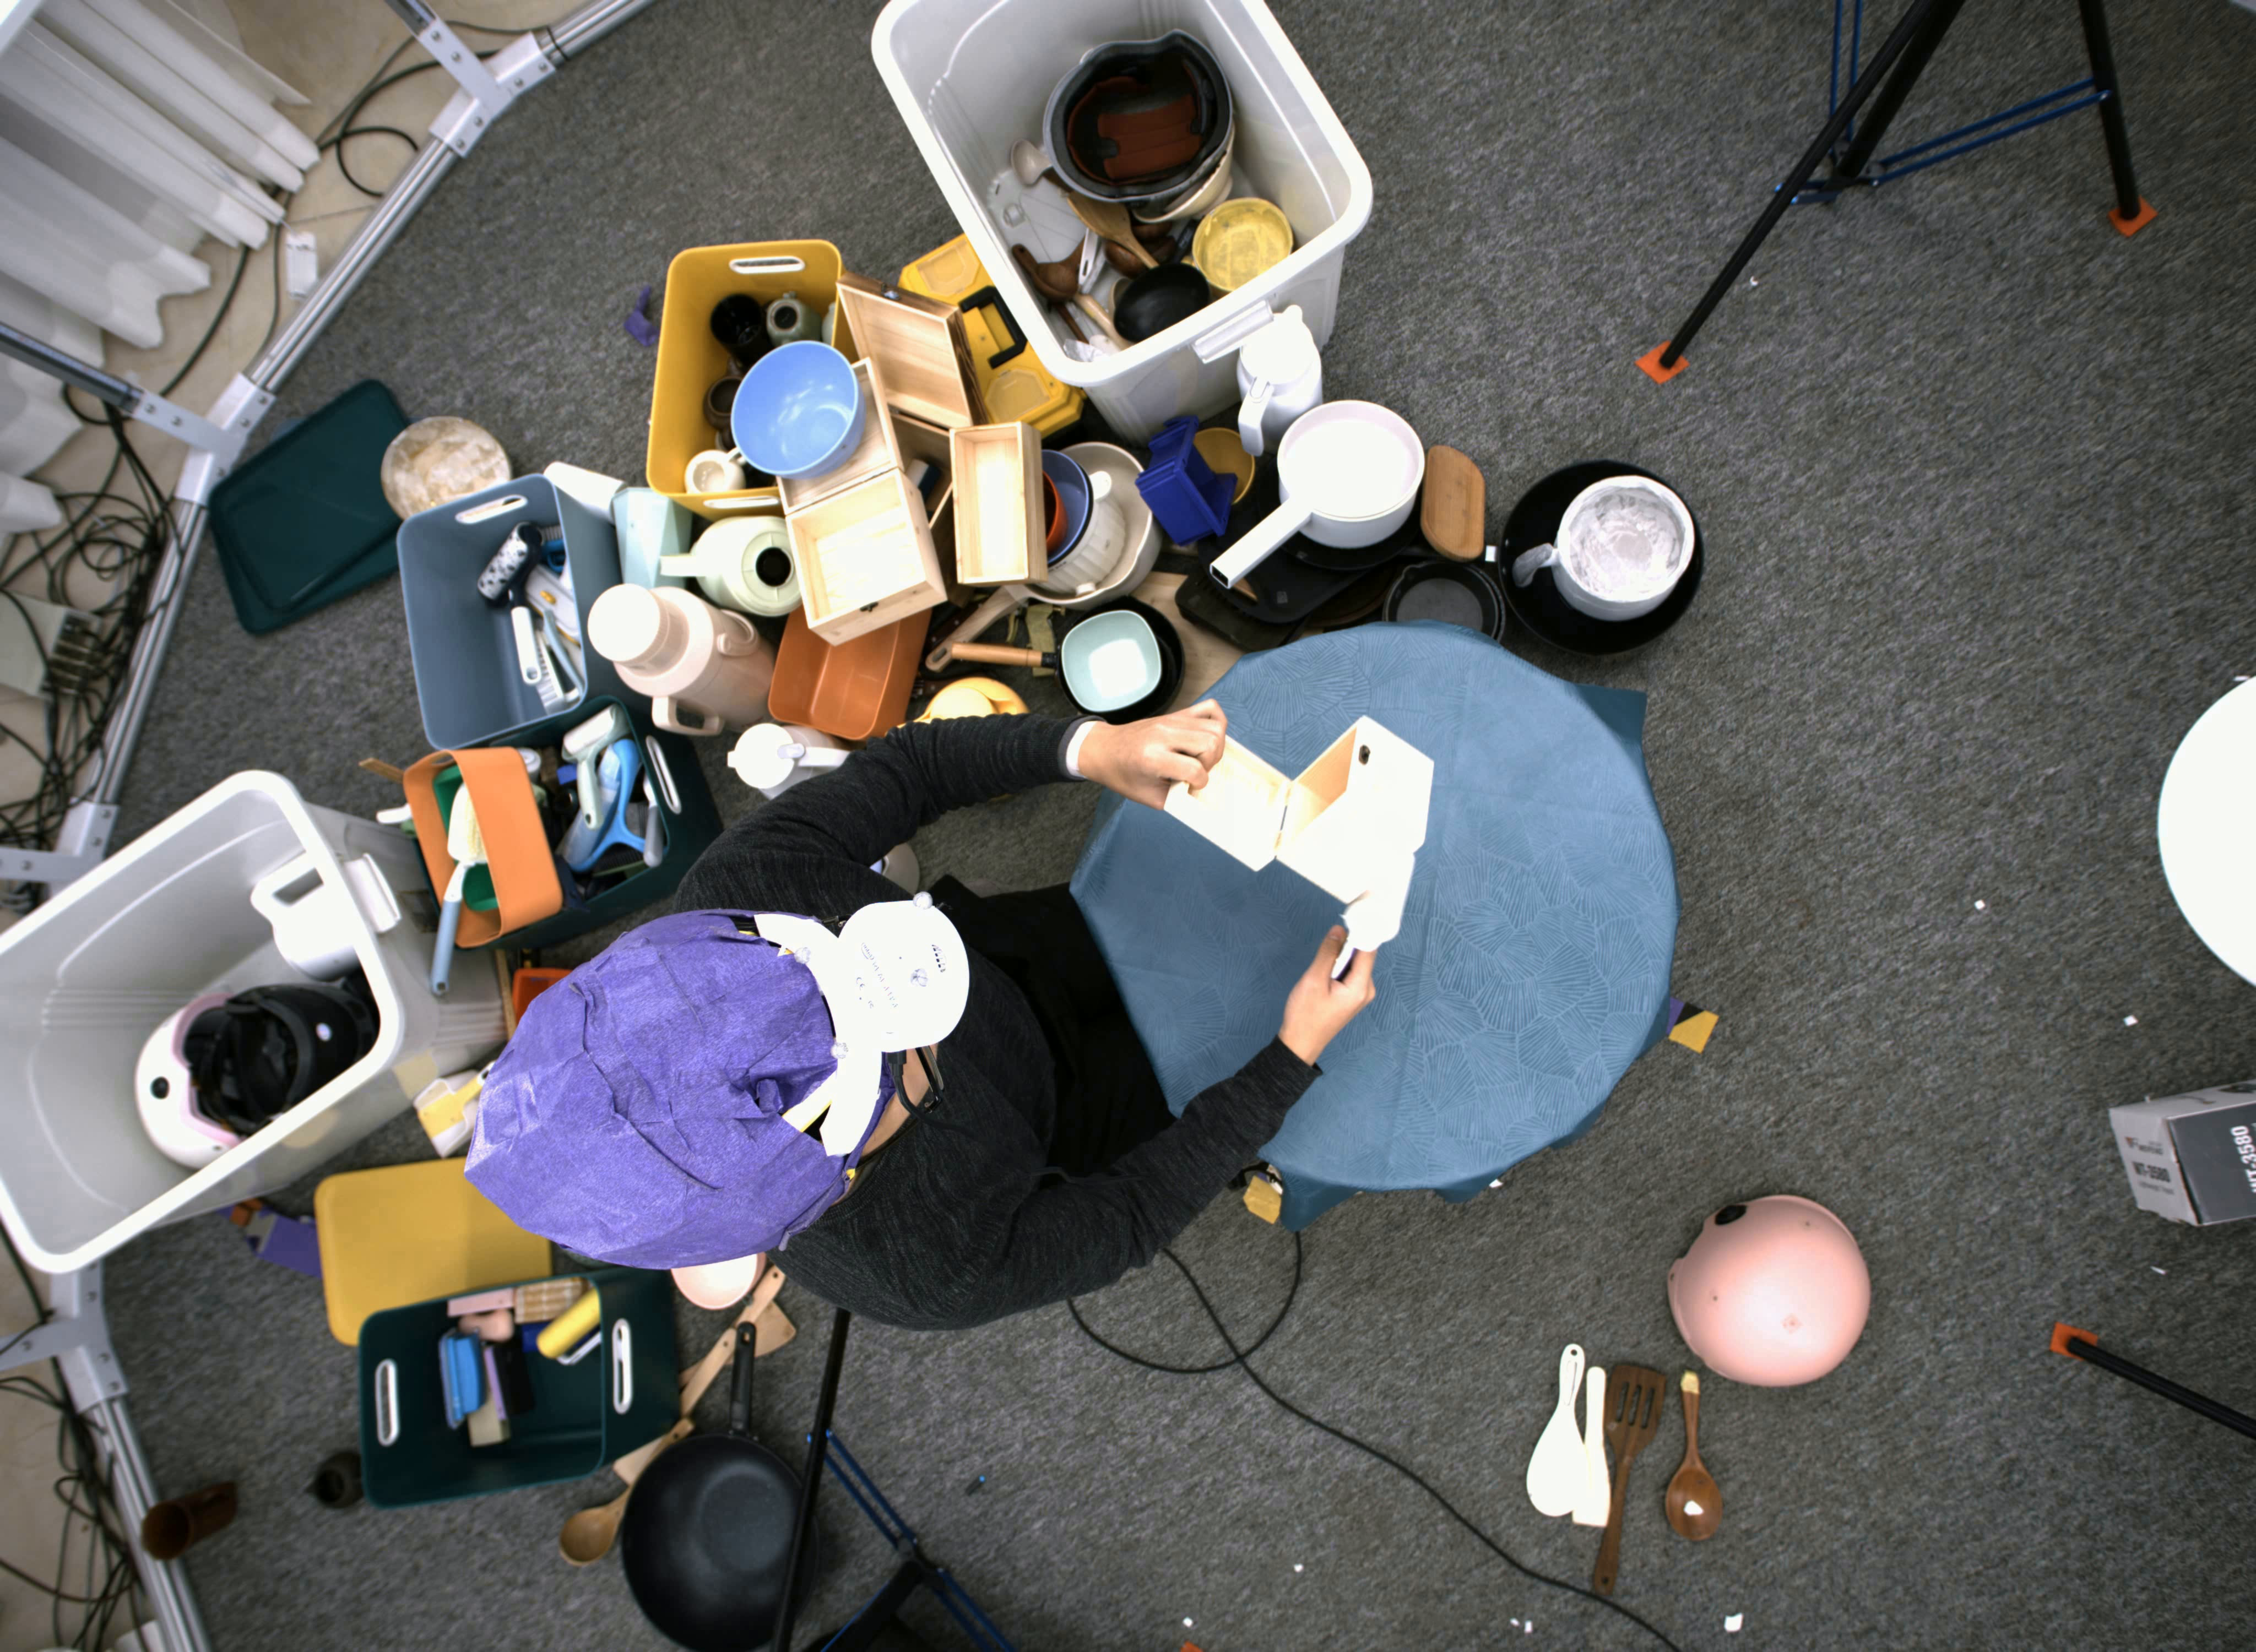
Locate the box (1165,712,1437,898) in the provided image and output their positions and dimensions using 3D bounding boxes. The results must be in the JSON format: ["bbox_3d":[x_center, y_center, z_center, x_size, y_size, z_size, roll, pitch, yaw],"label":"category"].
[{"bbox_3d":[0.146,-0.040,1.161,0.185,0.100,0.137,31,135,-12],"label":"box"}]

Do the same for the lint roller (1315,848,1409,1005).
[{"bbox_3d":[0.214,0.106,1.286,0.050,0.129,0.185,16,129,10],"label":"lint roller"}]
